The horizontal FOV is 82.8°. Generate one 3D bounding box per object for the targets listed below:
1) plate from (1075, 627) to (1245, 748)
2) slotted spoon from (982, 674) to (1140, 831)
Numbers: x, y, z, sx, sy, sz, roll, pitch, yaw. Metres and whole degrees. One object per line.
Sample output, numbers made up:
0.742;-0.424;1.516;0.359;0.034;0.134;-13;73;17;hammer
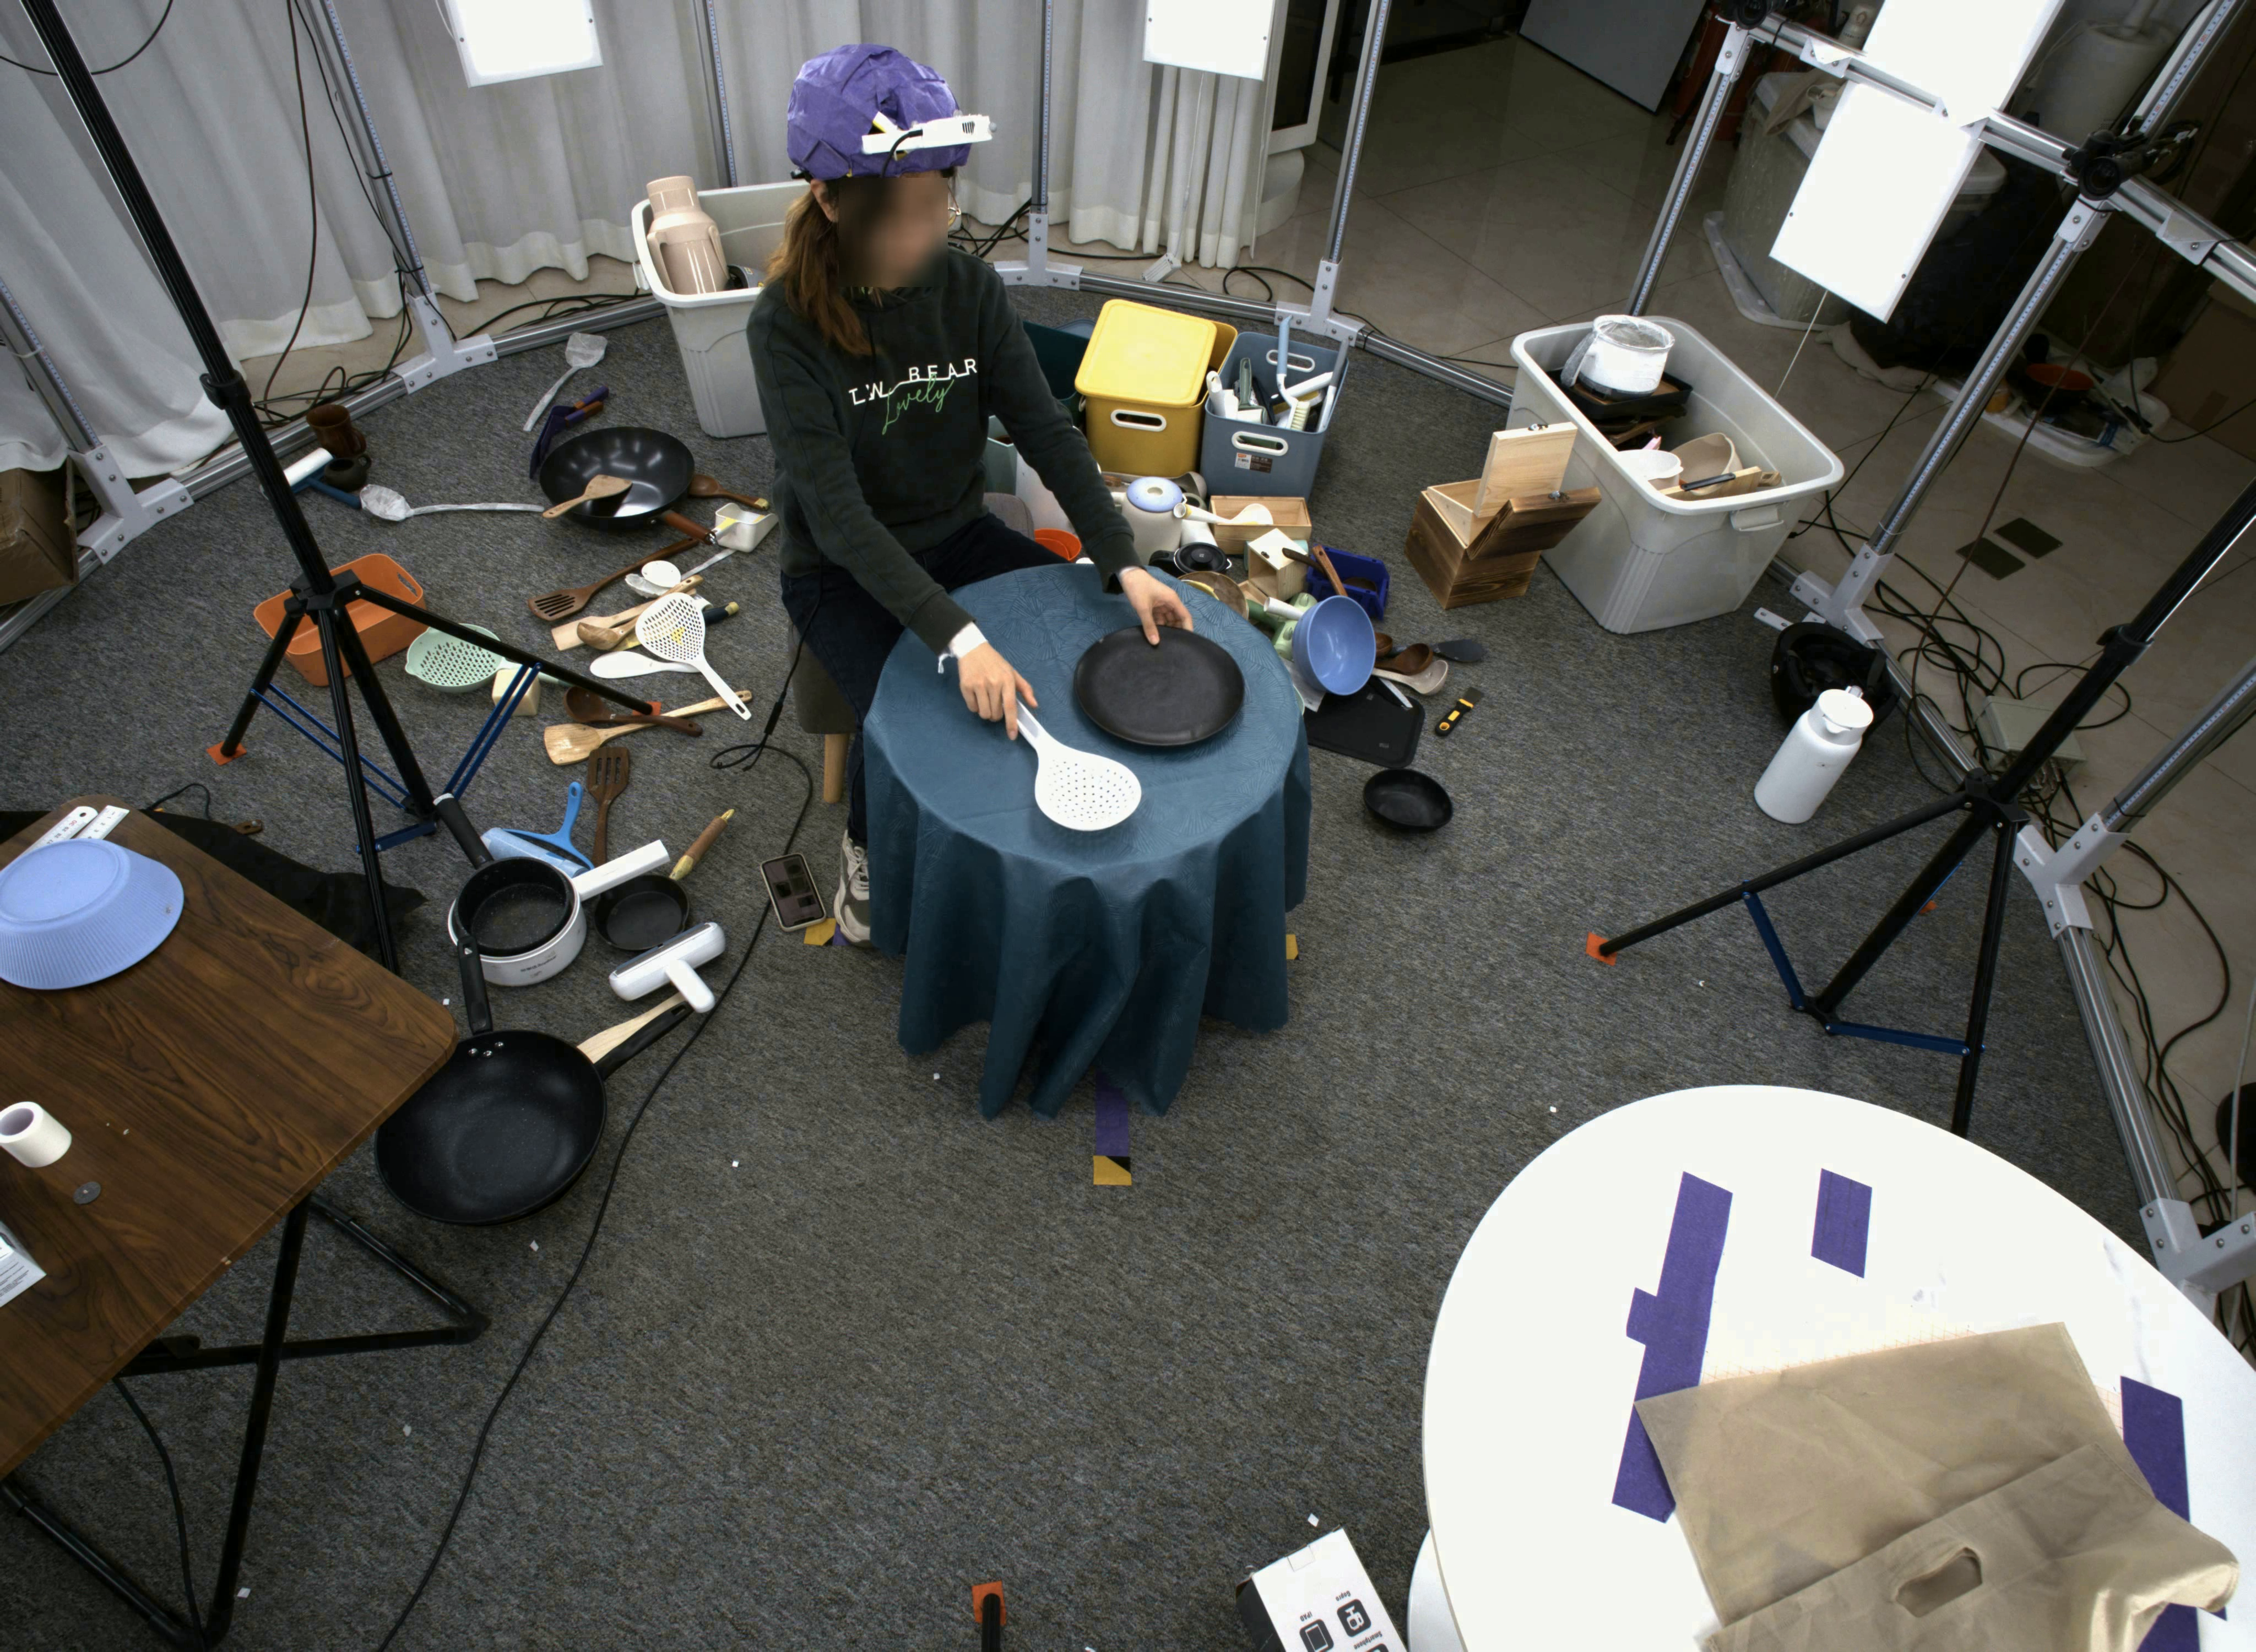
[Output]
0.046;-0.197;1.844;0.244;0.023;0.250;2;49;-2;plate
-0.109;-0.105;1.739;0.136;0.044;0.357;-21;53;-23;slotted spoon
